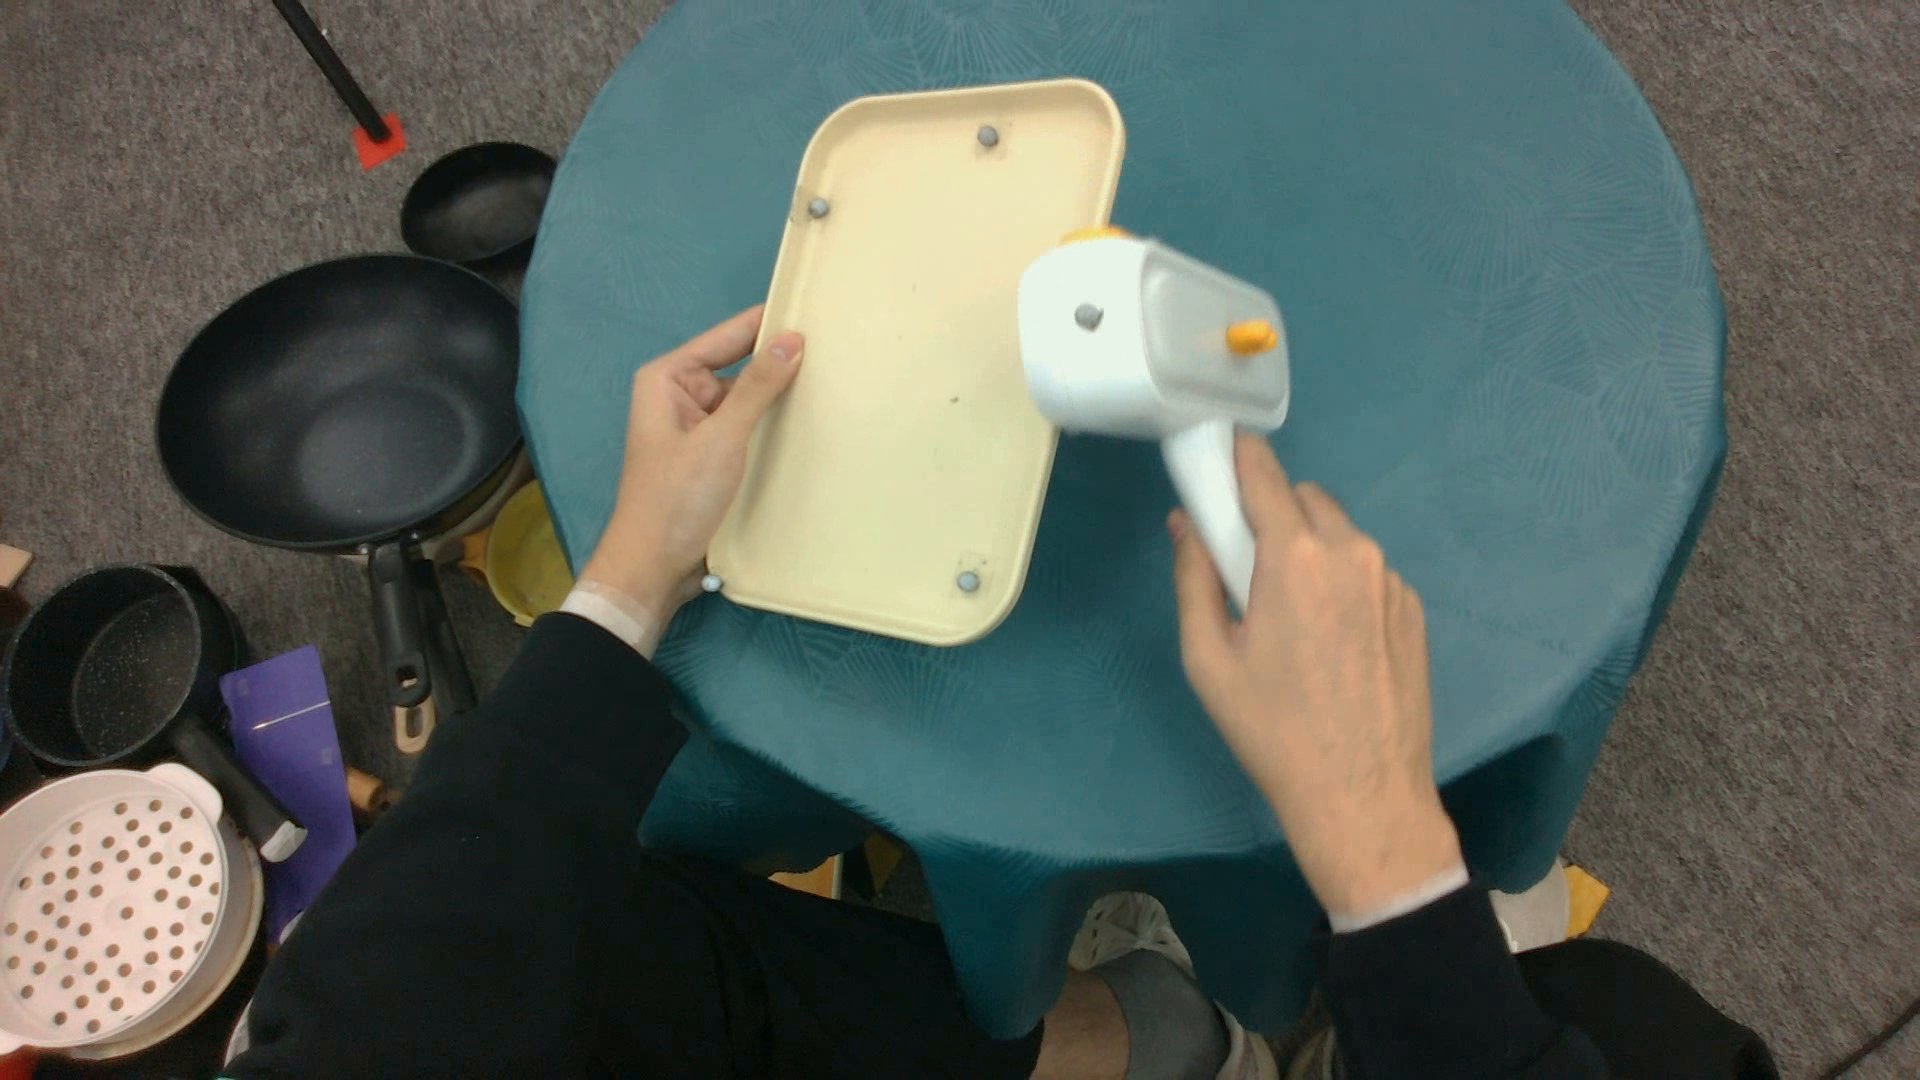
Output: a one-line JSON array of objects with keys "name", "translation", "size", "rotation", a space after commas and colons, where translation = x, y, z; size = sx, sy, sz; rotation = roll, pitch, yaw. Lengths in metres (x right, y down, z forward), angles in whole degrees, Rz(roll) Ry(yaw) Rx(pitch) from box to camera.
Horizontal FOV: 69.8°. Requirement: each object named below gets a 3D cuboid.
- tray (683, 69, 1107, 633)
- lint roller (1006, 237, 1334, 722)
[{"name": "tray", "translation": [-0.030, -0.085, 0.589], "size": [0.171, 0.017, 0.240], "rotation": [10, 82, 33]}, {"name": "lint roller", "translation": [0.093, -0.019, 0.541], "size": [0.074, 0.193, 0.192], "rotation": [-15, 87, 21]}]
